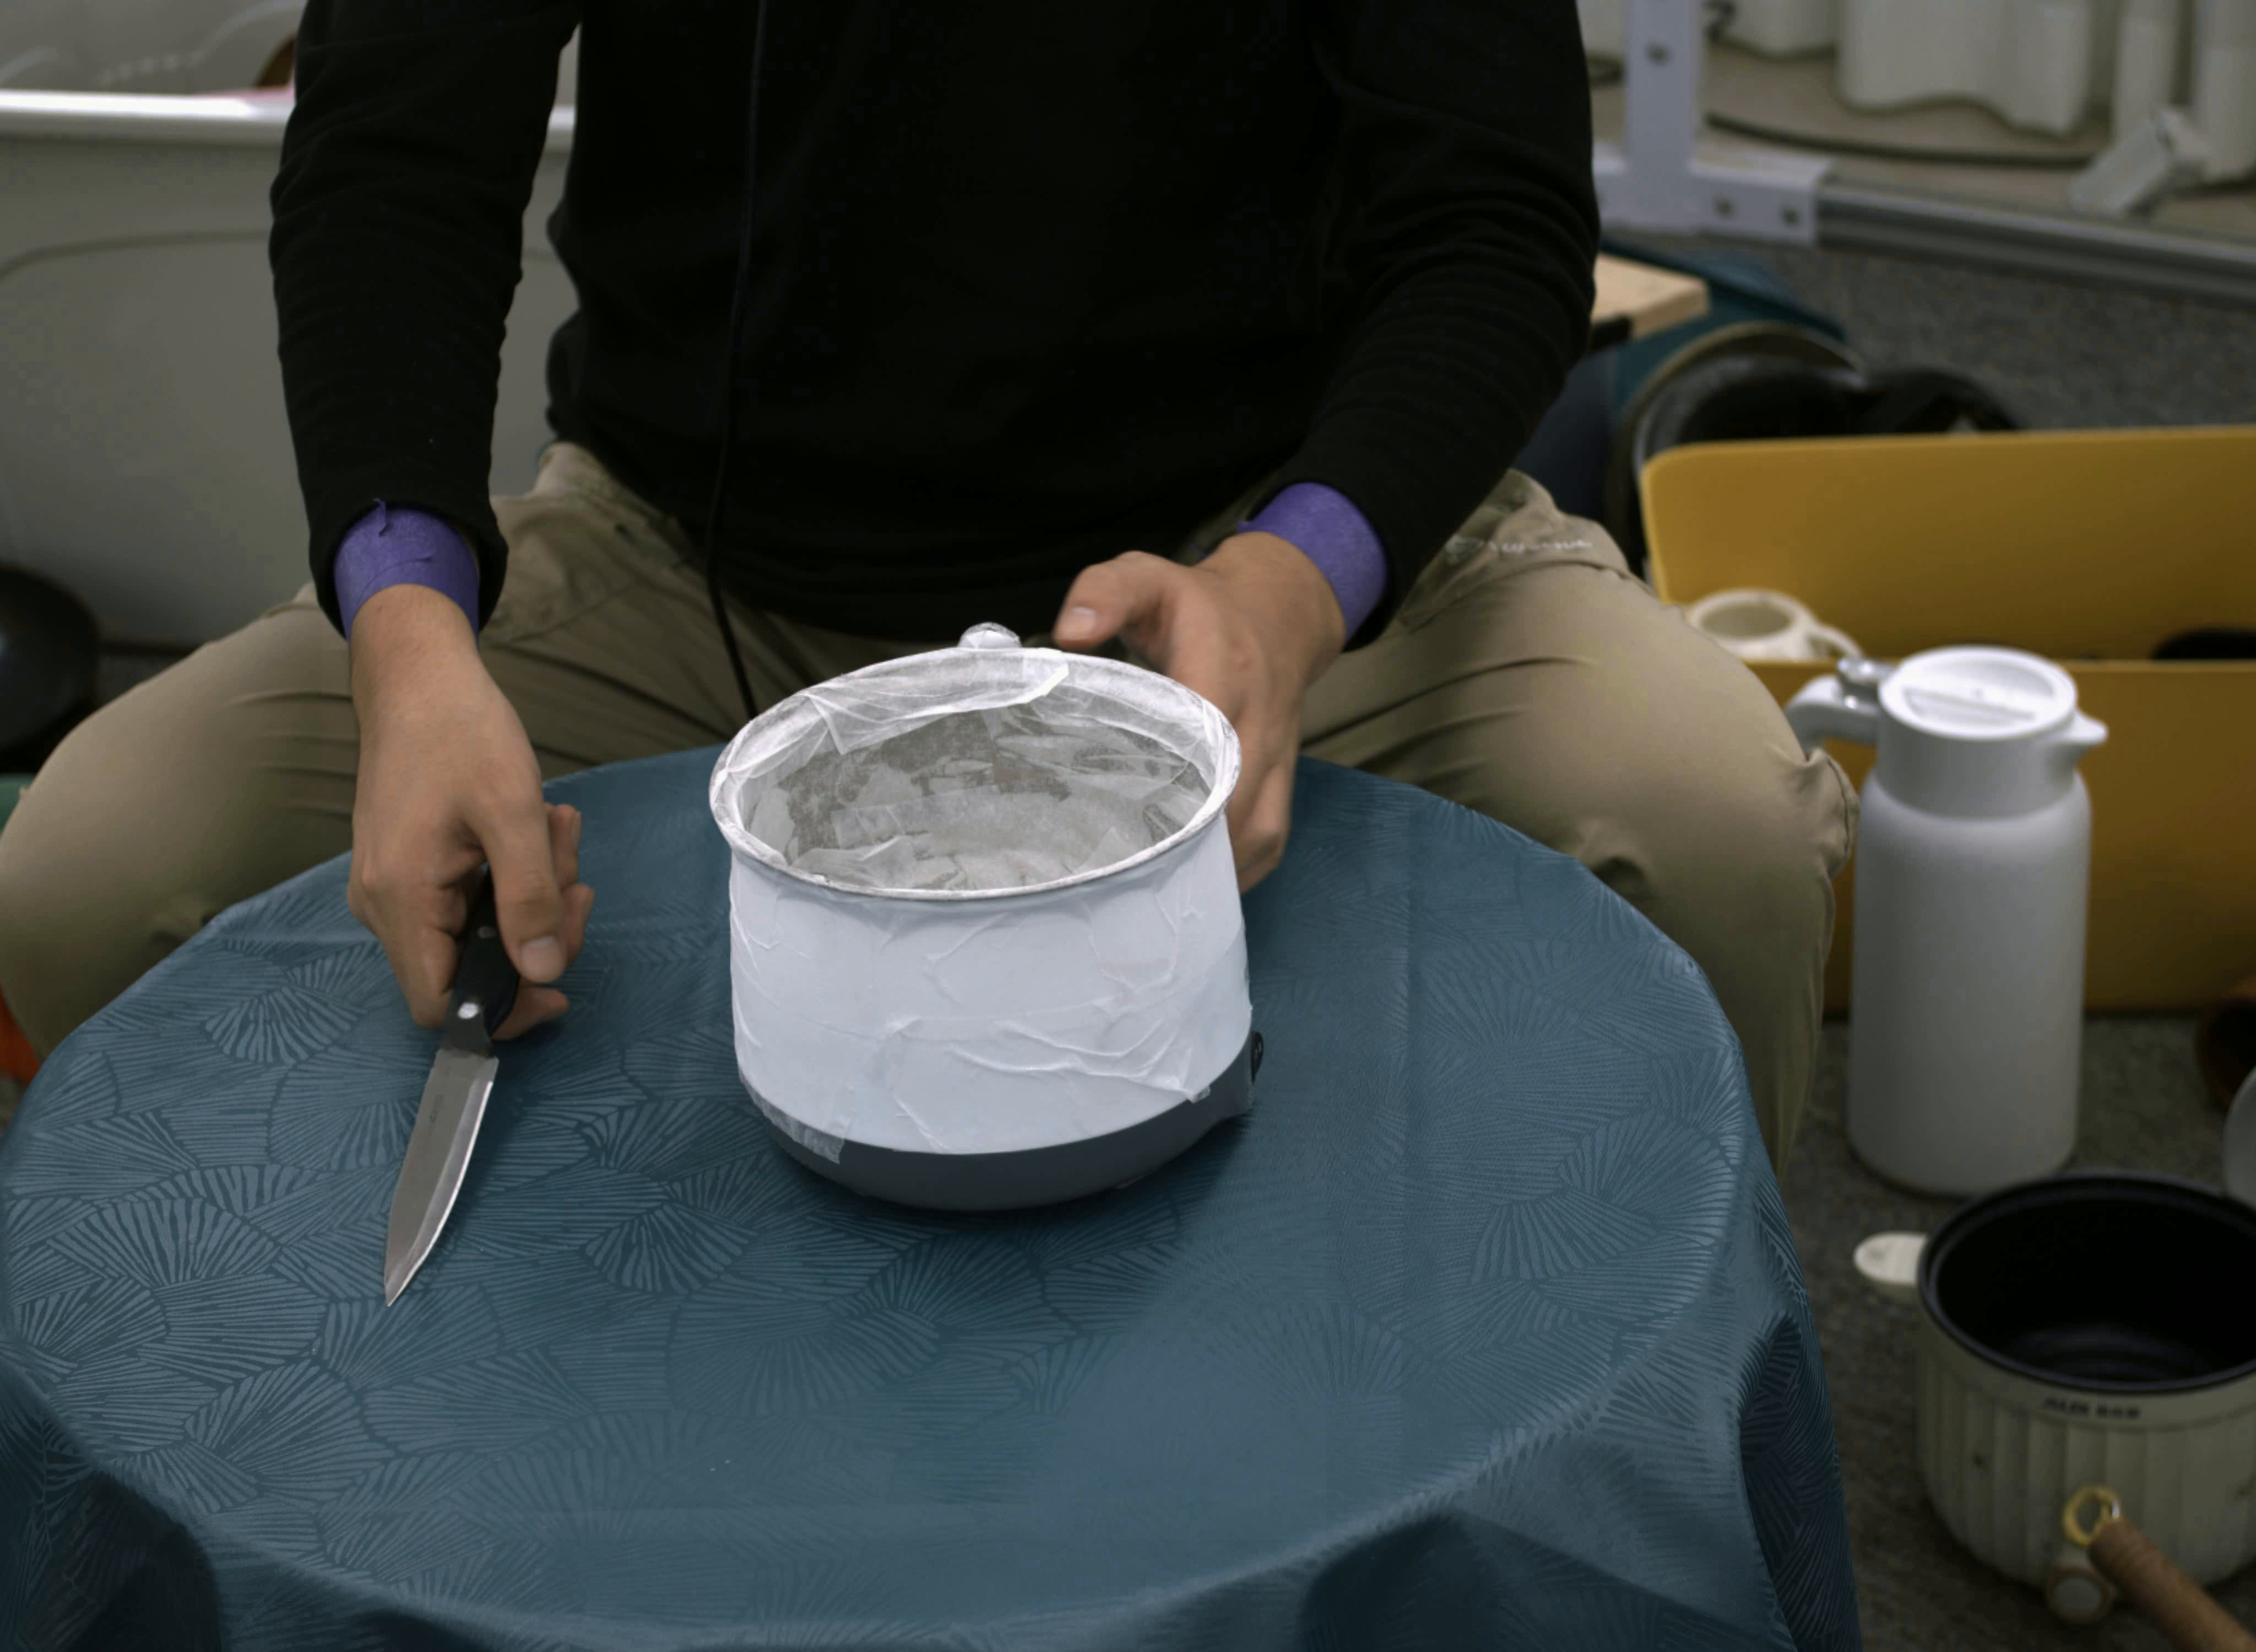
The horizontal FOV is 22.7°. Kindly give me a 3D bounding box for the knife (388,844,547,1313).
[{"bbox_3d":[-0.228,0.083,1.910,0.024,0.016,0.243,16,38,-6],"label":"knife"}]

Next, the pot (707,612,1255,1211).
[{"bbox_3d":[-0.048,0.021,1.905,0.178,0.135,0.237,-2,28,1],"label":"pot"}]
